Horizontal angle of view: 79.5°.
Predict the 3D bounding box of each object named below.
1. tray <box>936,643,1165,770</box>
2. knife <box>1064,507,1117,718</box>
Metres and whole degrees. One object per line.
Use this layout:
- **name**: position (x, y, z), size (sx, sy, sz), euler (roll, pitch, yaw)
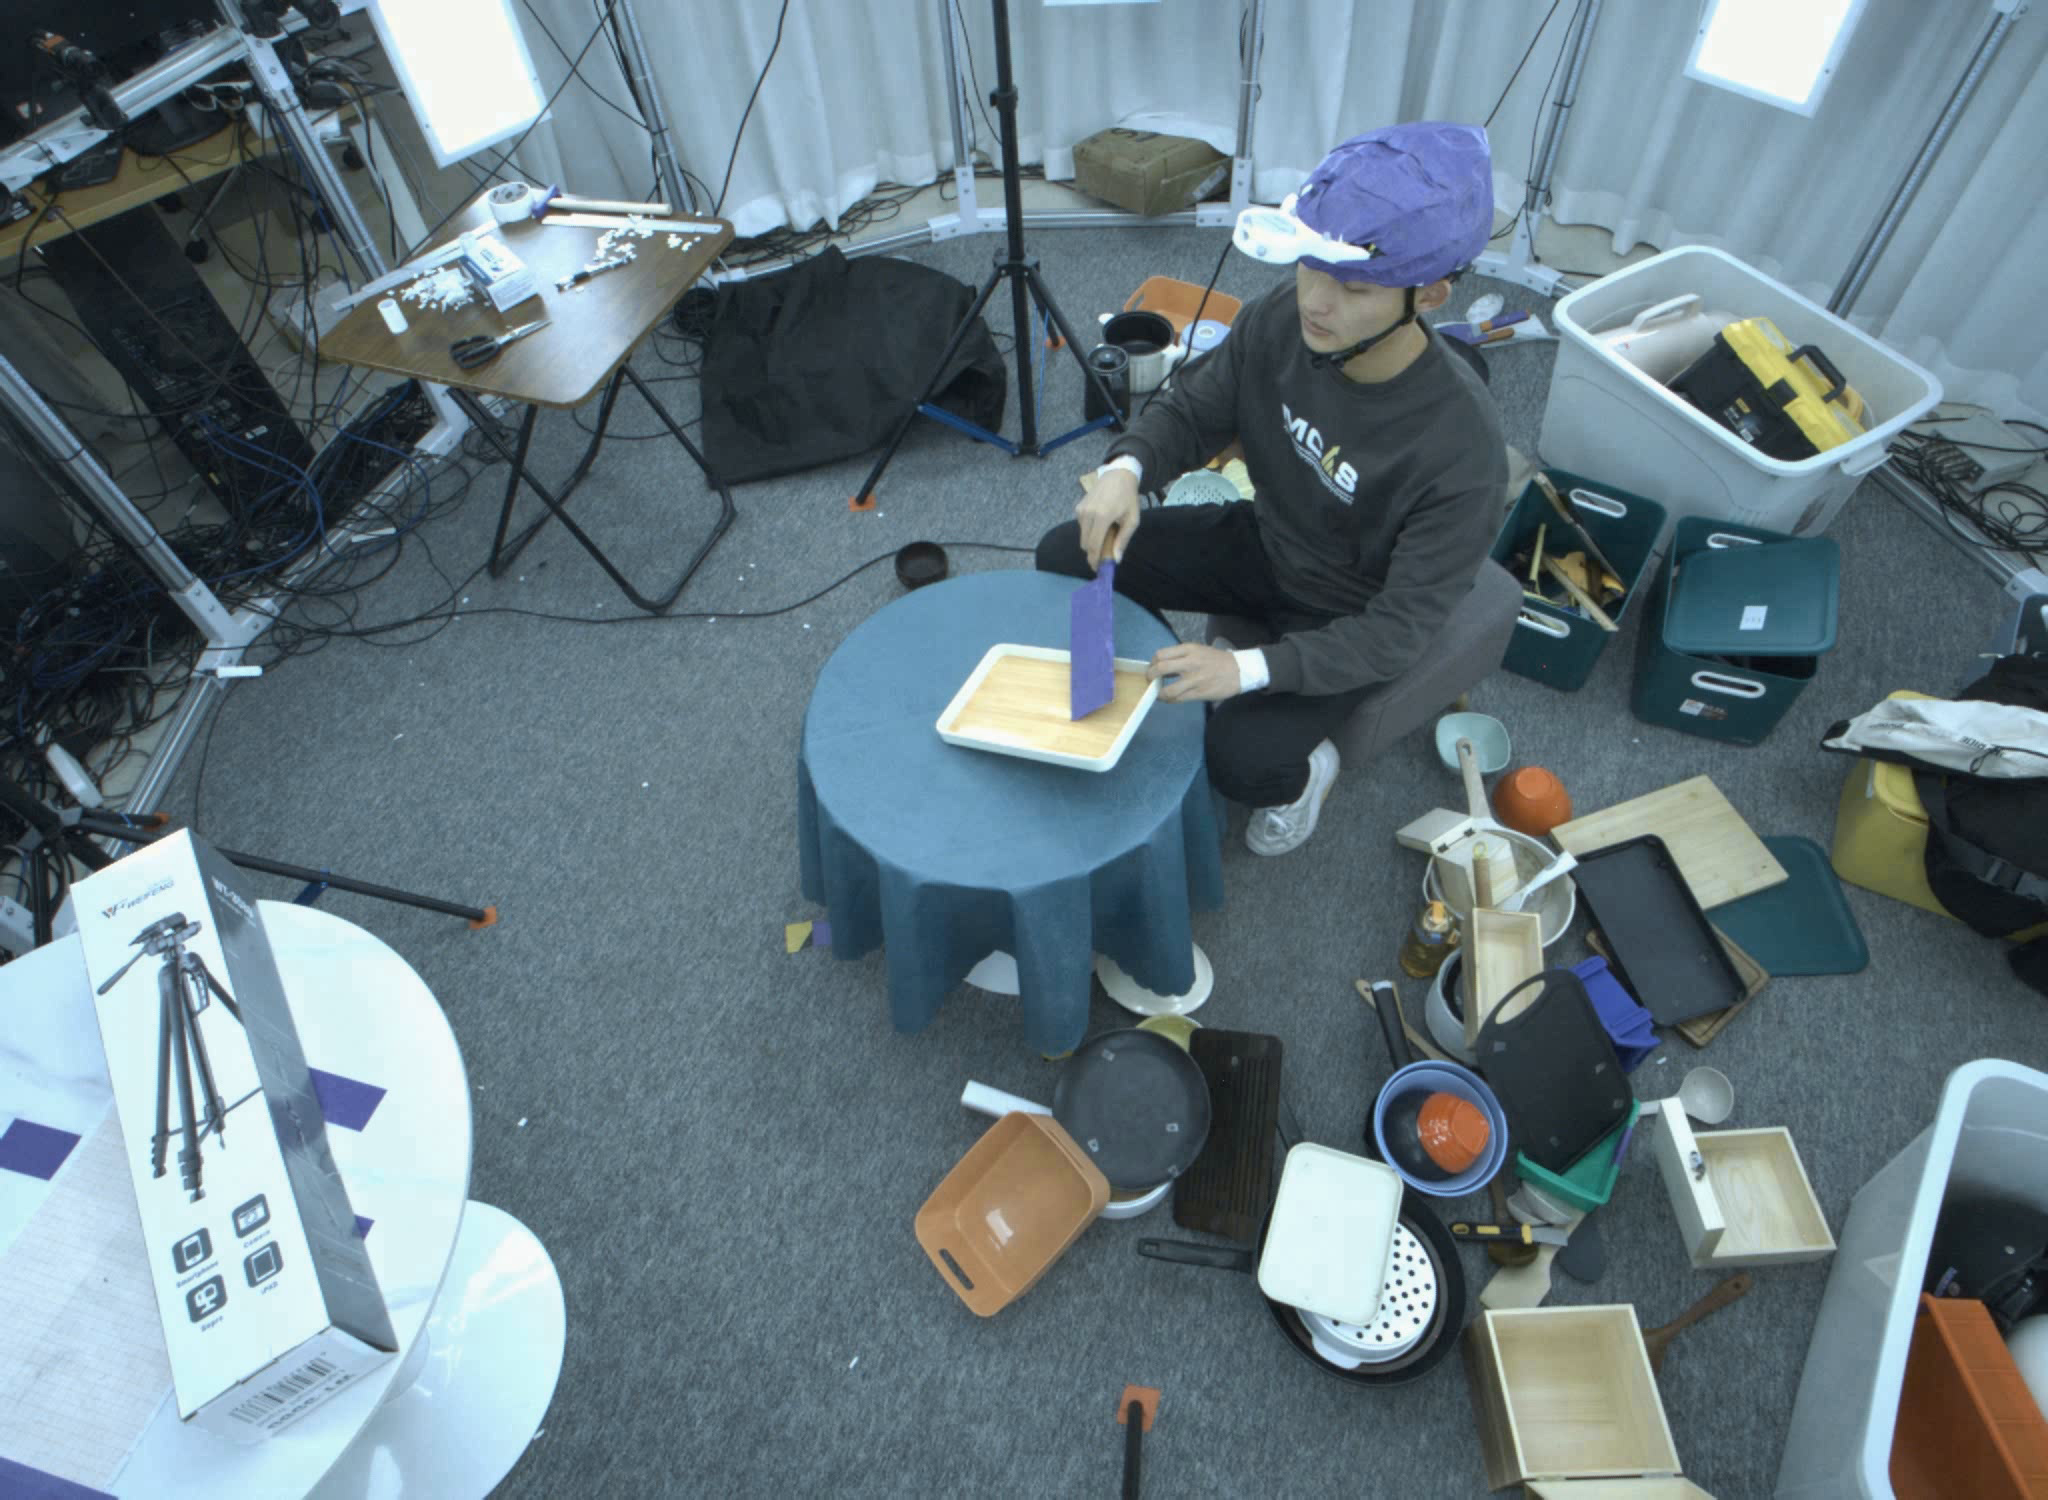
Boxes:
- **tray**: position (0.035, -0.068, 1.770), size (0.294, 0.028, 0.192), euler (11, 52, 33)
- **knife**: position (0.094, -0.199, 1.762), size (0.033, 0.102, 0.313), euler (20, 61, -35)
